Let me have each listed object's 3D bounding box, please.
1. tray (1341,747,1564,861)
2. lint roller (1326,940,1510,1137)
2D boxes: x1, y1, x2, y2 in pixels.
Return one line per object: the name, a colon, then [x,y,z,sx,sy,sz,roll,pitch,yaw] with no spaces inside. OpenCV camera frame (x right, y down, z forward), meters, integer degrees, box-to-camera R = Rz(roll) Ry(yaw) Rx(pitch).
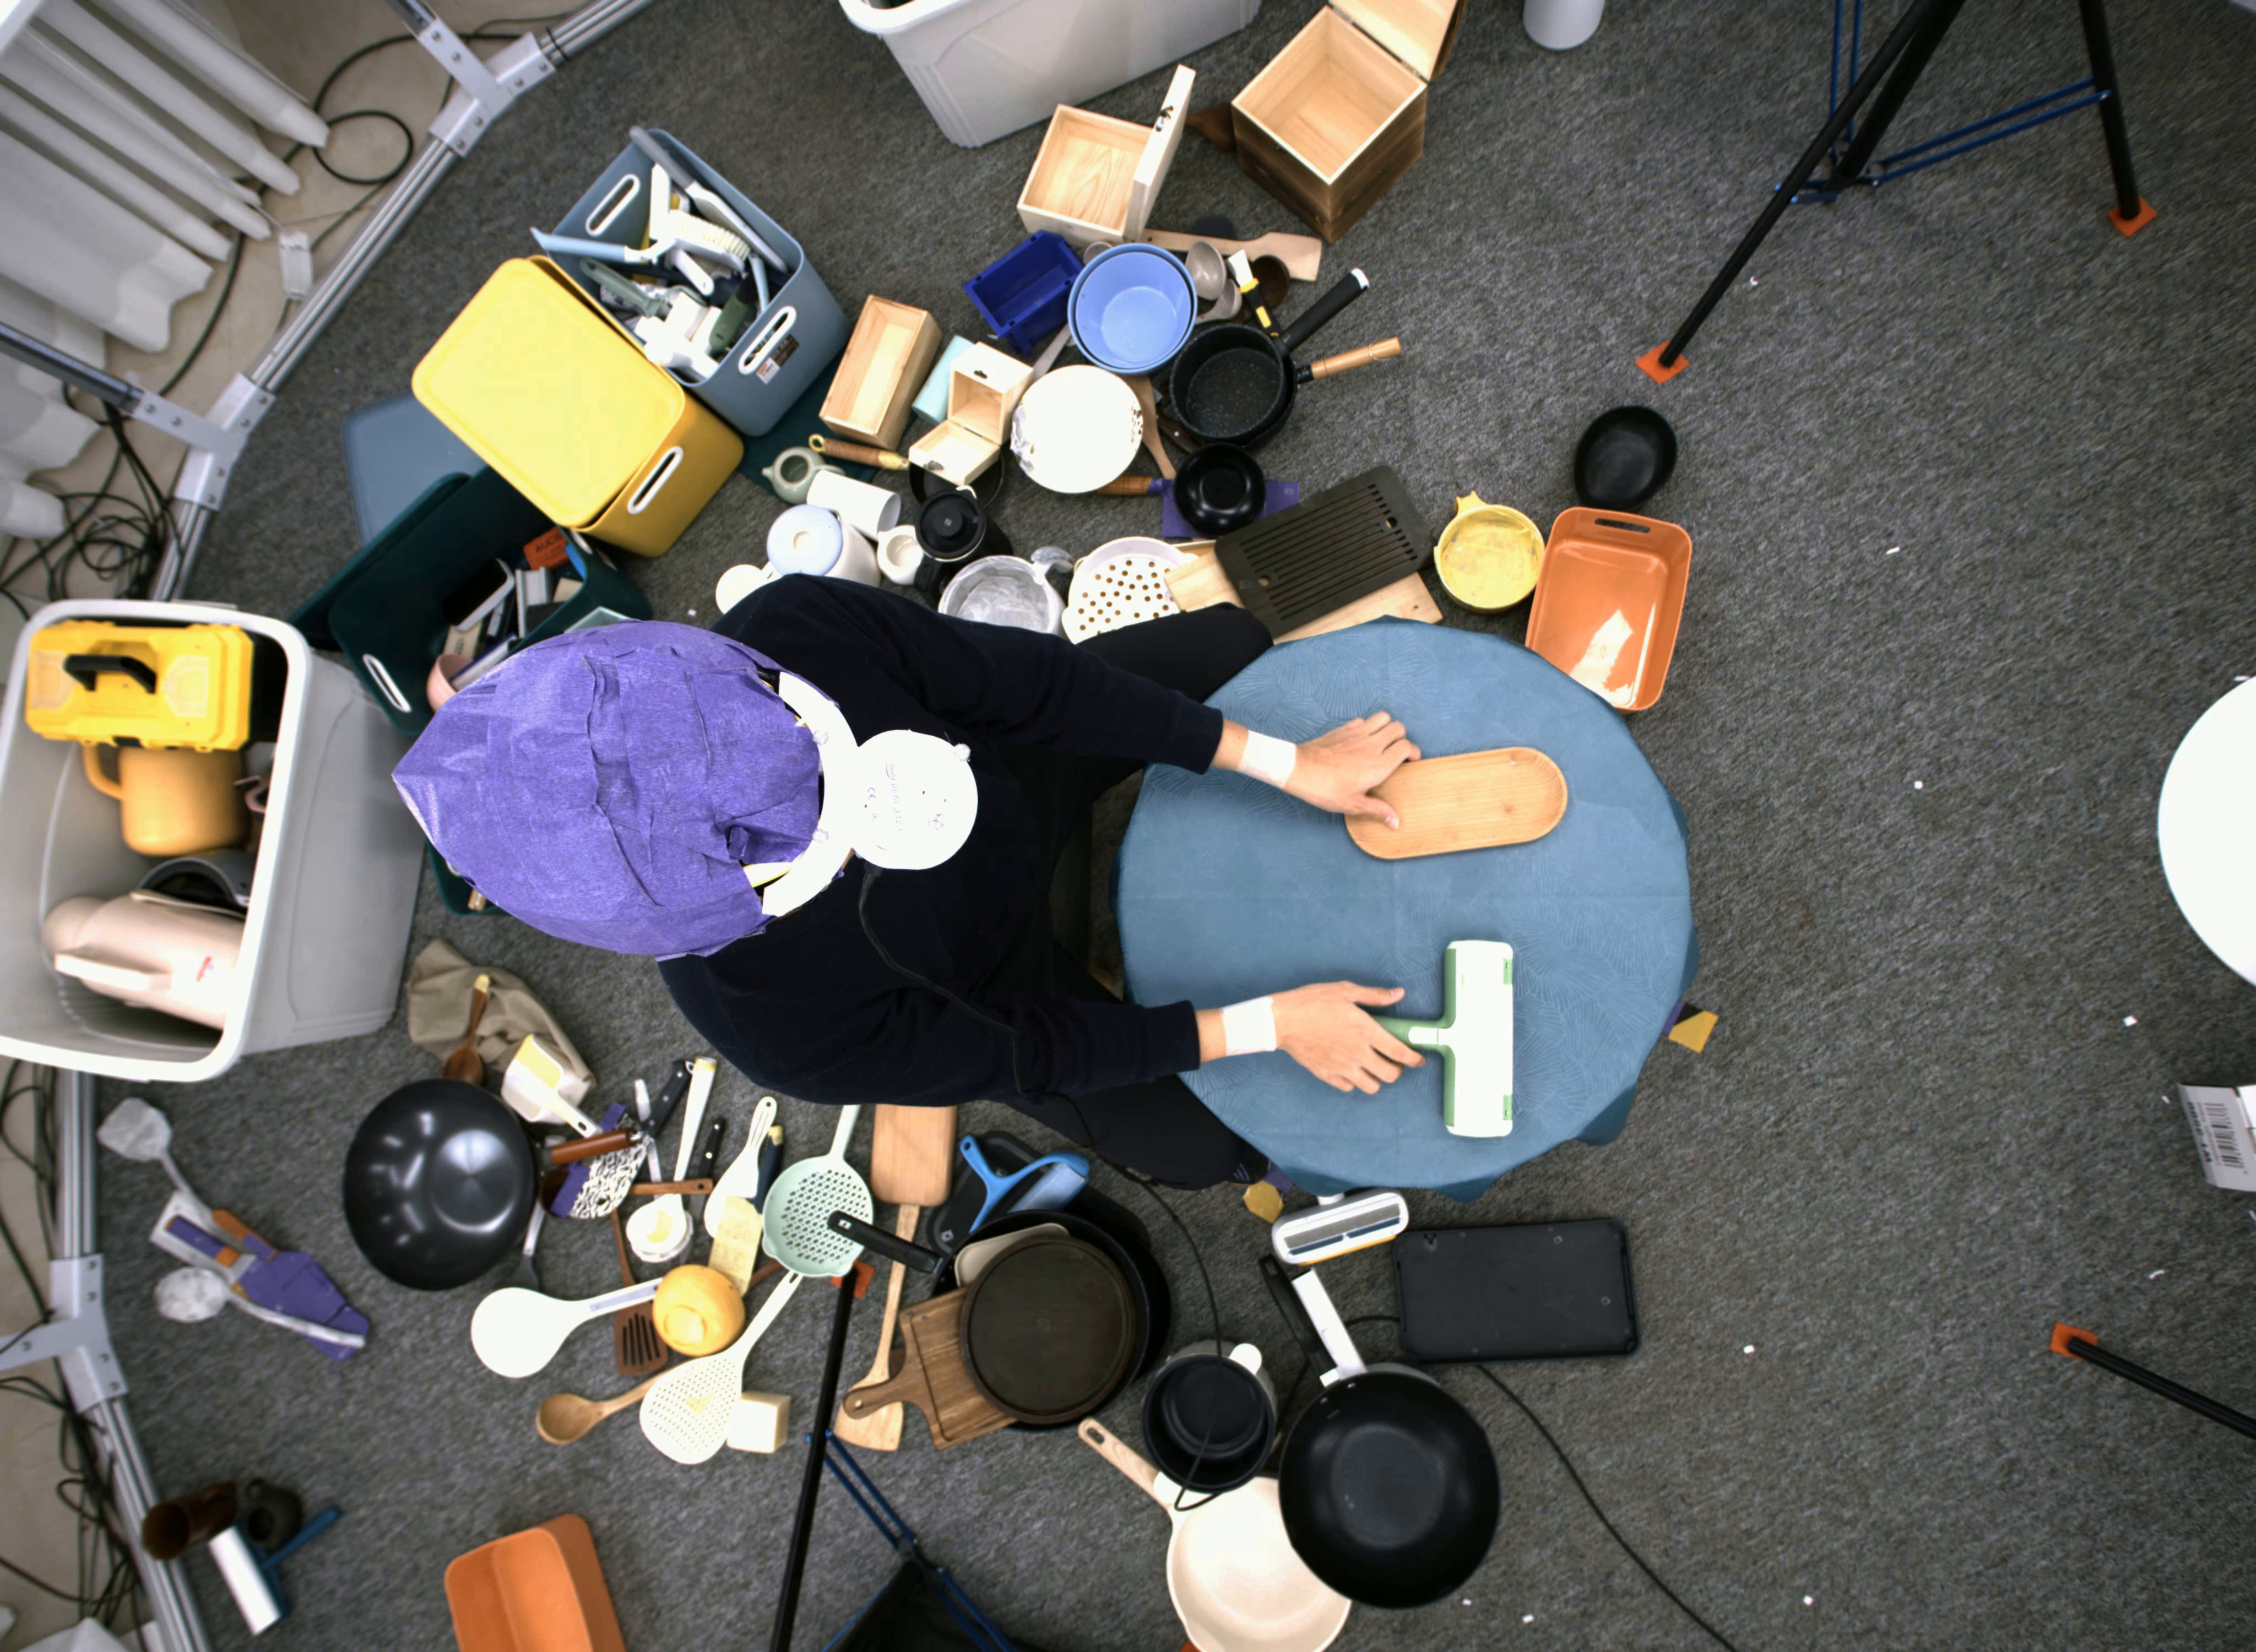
tray: [0.339,-0.024,1.444,0.232,0.020,0.101,-9,85,11]
lint roller: [0.295,0.212,1.403,0.184,0.082,0.197,1,86,5]
